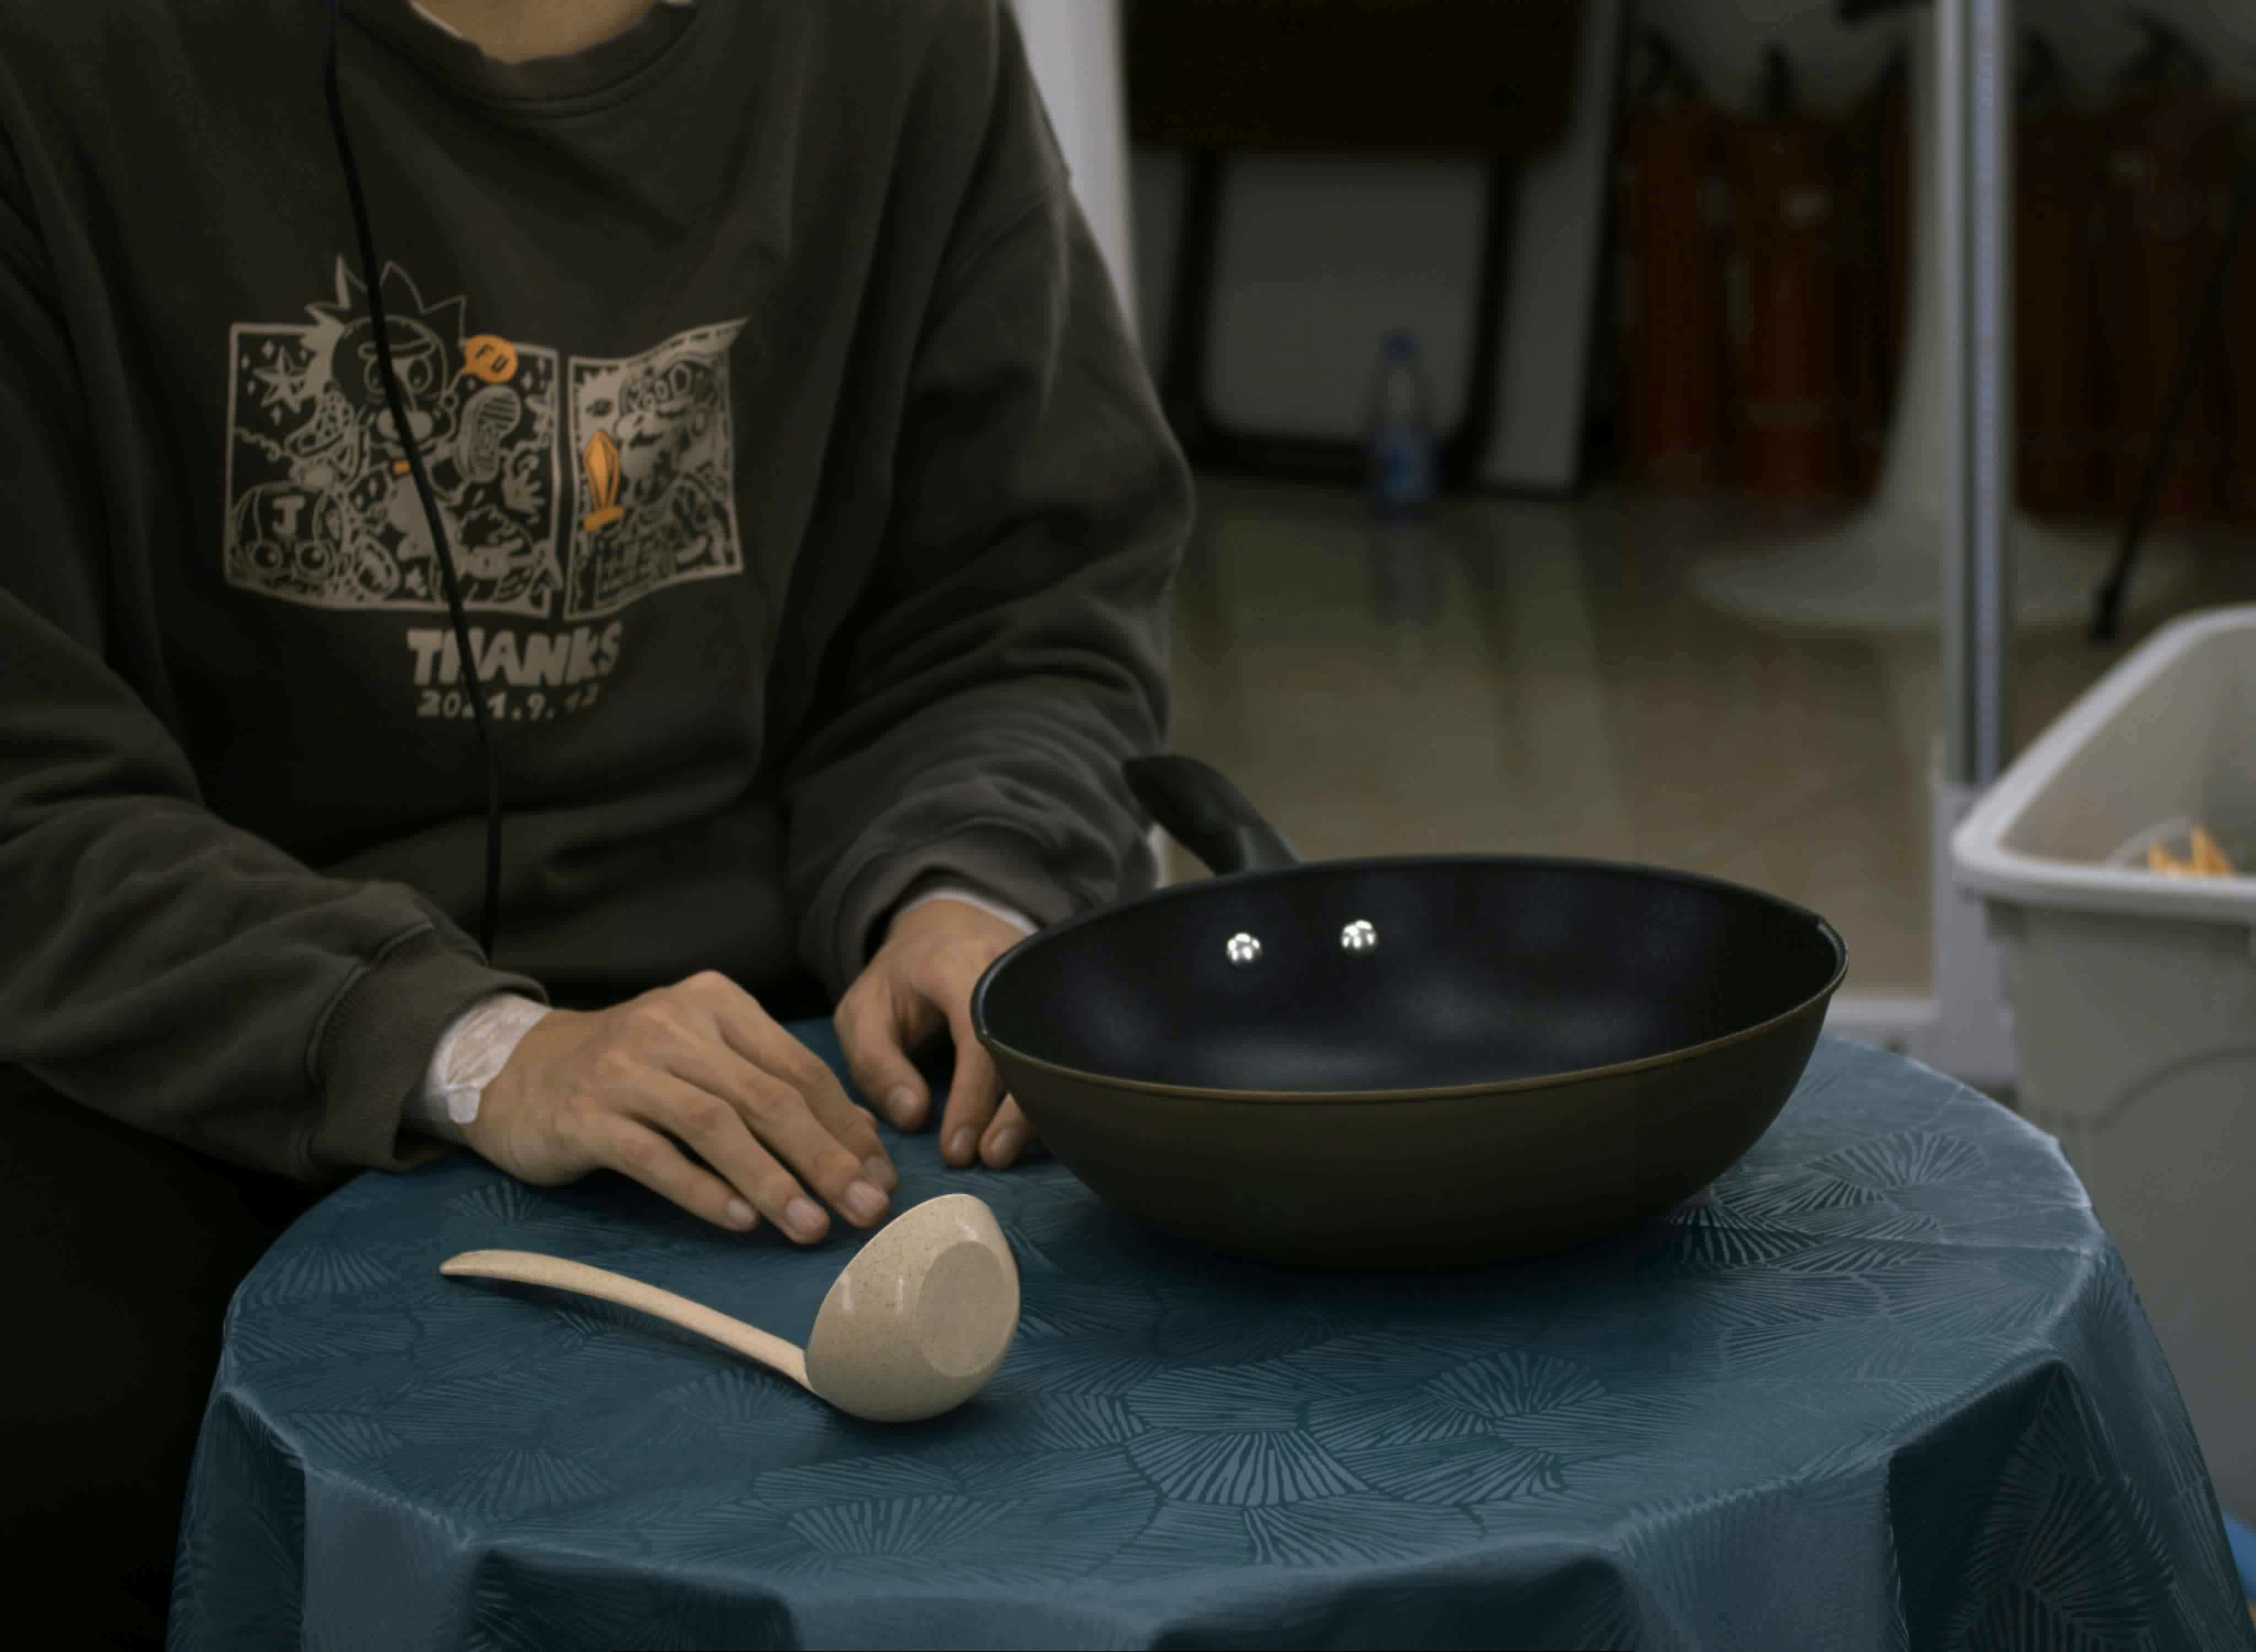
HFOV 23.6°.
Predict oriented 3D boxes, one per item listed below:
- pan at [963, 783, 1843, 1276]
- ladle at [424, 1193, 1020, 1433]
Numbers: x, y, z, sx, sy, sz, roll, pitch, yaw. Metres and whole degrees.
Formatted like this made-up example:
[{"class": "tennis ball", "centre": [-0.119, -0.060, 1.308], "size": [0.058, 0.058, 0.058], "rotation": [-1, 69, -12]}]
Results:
[{"class": "pan", "centre": [0.068, 0.065, 1.815], "size": [0.283, 0.088, 0.466], "rotation": [-7, 13, -12]}, {"class": "ladle", "centre": [-0.134, 0.127, 1.637], "size": [0.257, 0.073, 0.071], "rotation": [11, 23, 44]}]
